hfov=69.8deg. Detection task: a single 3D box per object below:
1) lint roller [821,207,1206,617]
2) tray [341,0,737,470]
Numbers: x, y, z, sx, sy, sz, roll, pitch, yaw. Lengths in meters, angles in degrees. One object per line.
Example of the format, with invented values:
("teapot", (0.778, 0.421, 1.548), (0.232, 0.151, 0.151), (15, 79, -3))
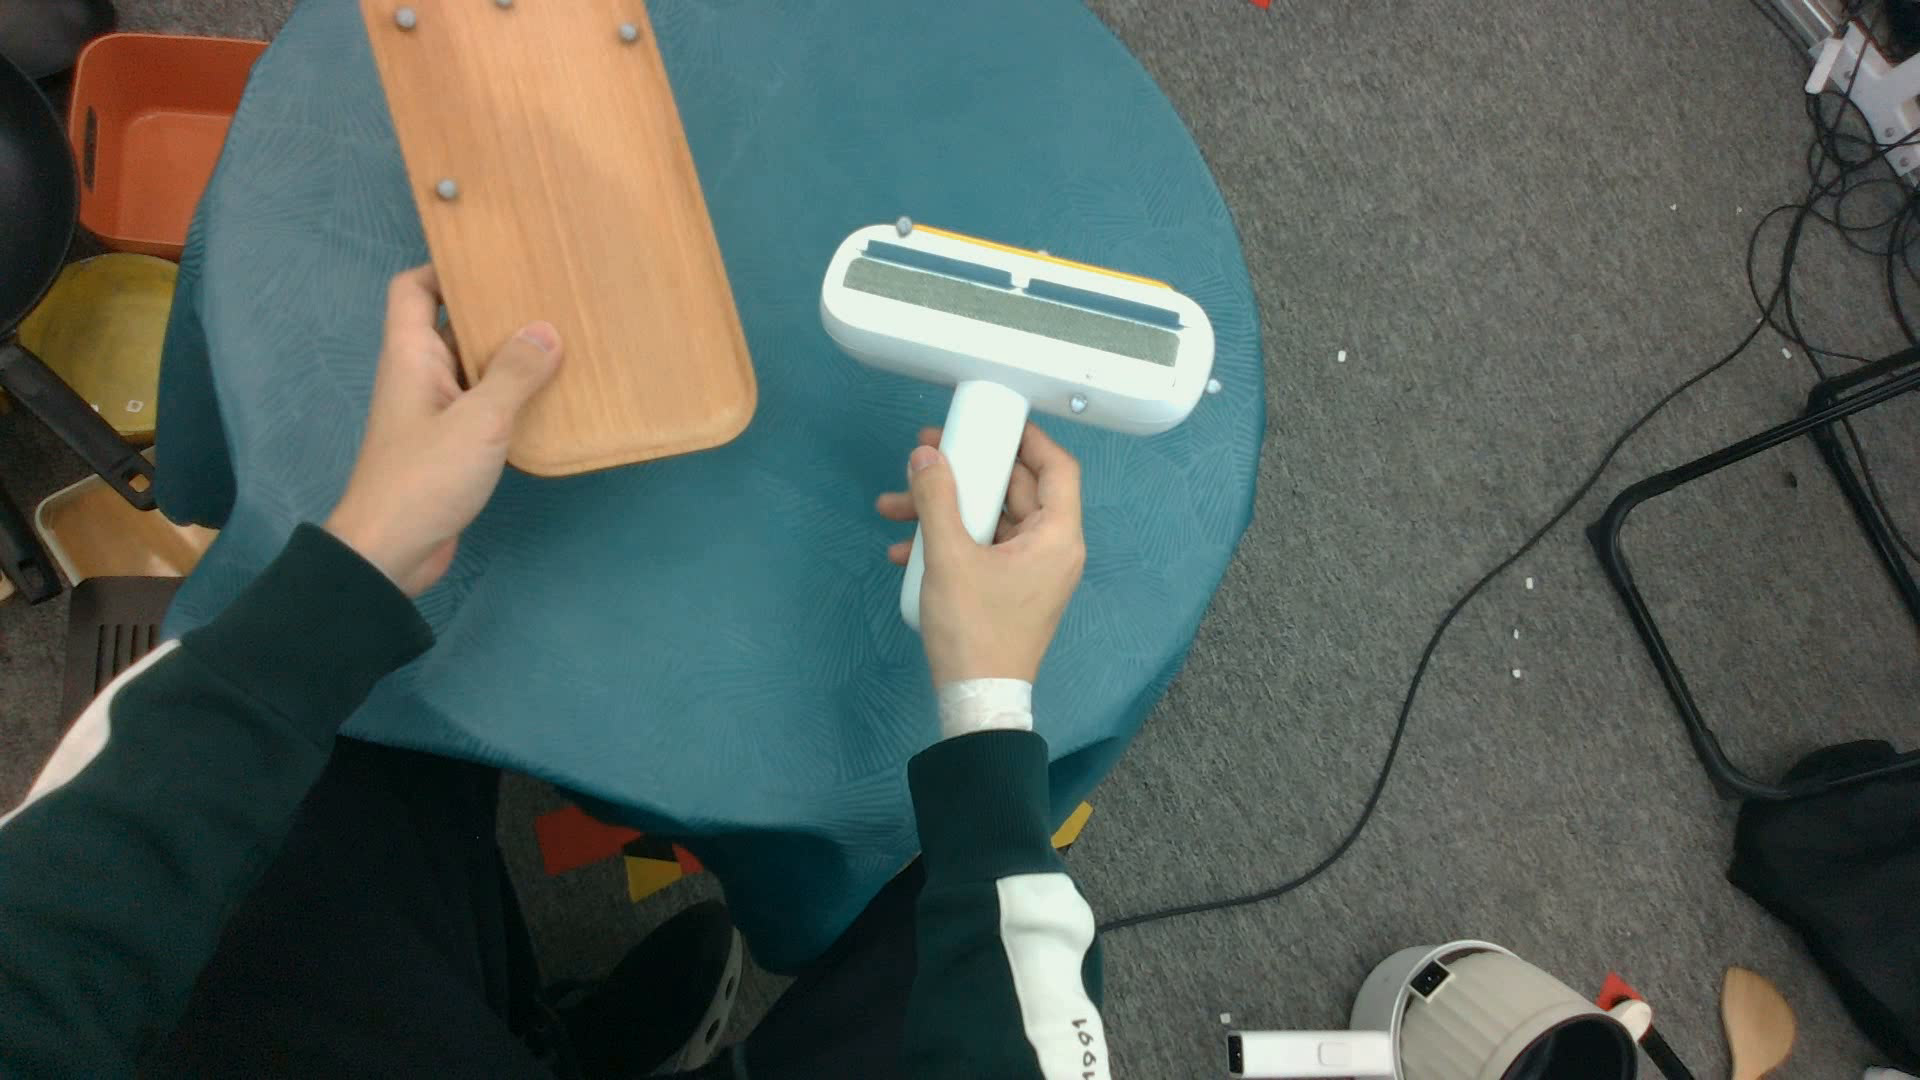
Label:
("lint roller", (0.005, -0.053, 0.681), (0.193, 0.074, 0.192), (20, 91, 8))
("tray", (-0.191, -0.158, 0.632), (0.131, 0.023, 0.251), (-14, 86, -28))
